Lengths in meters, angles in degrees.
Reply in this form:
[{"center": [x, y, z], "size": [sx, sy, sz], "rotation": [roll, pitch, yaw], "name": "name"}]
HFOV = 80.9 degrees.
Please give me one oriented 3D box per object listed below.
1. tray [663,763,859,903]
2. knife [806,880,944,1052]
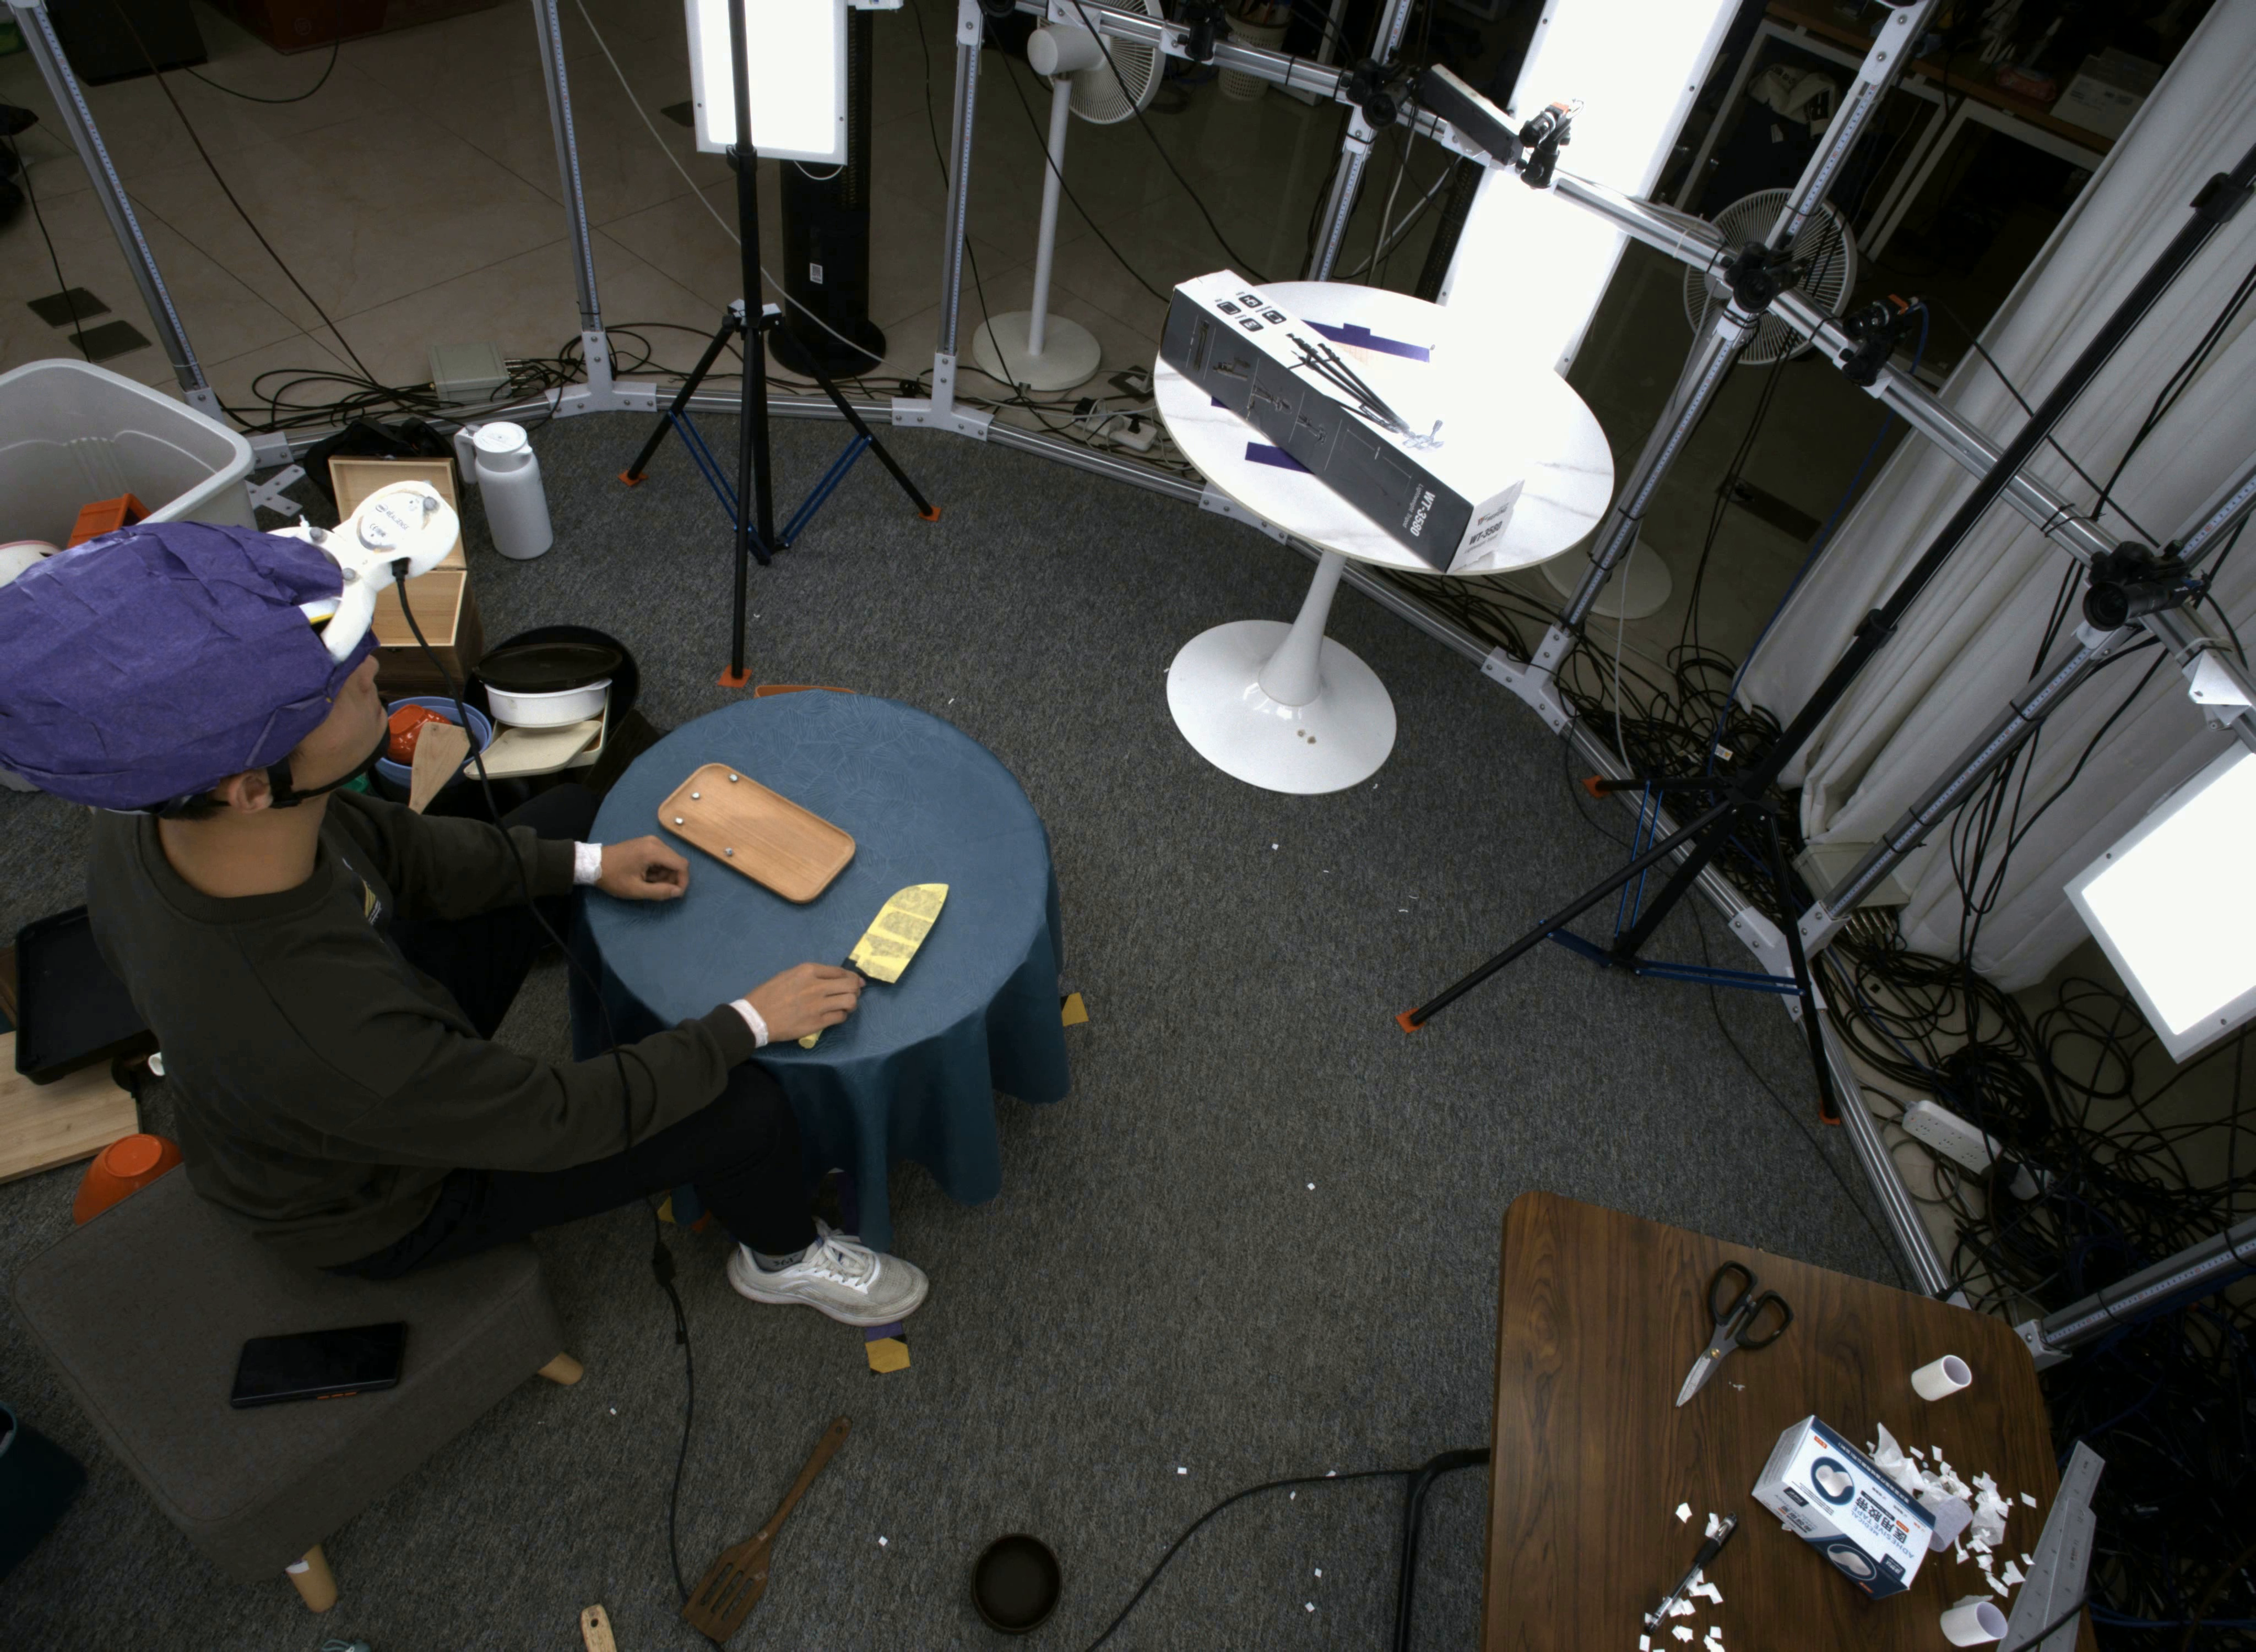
[{"center": [-0.483, 0.007, 1.704], "size": [0.247, 0.023, 0.130], "rotation": [29, 55, 7], "name": "tray"}, {"center": [-0.312, 0.167, 1.626], "size": [0.079, 0.028, 0.287], "rotation": [18, 50, 16], "name": "knife"}]
